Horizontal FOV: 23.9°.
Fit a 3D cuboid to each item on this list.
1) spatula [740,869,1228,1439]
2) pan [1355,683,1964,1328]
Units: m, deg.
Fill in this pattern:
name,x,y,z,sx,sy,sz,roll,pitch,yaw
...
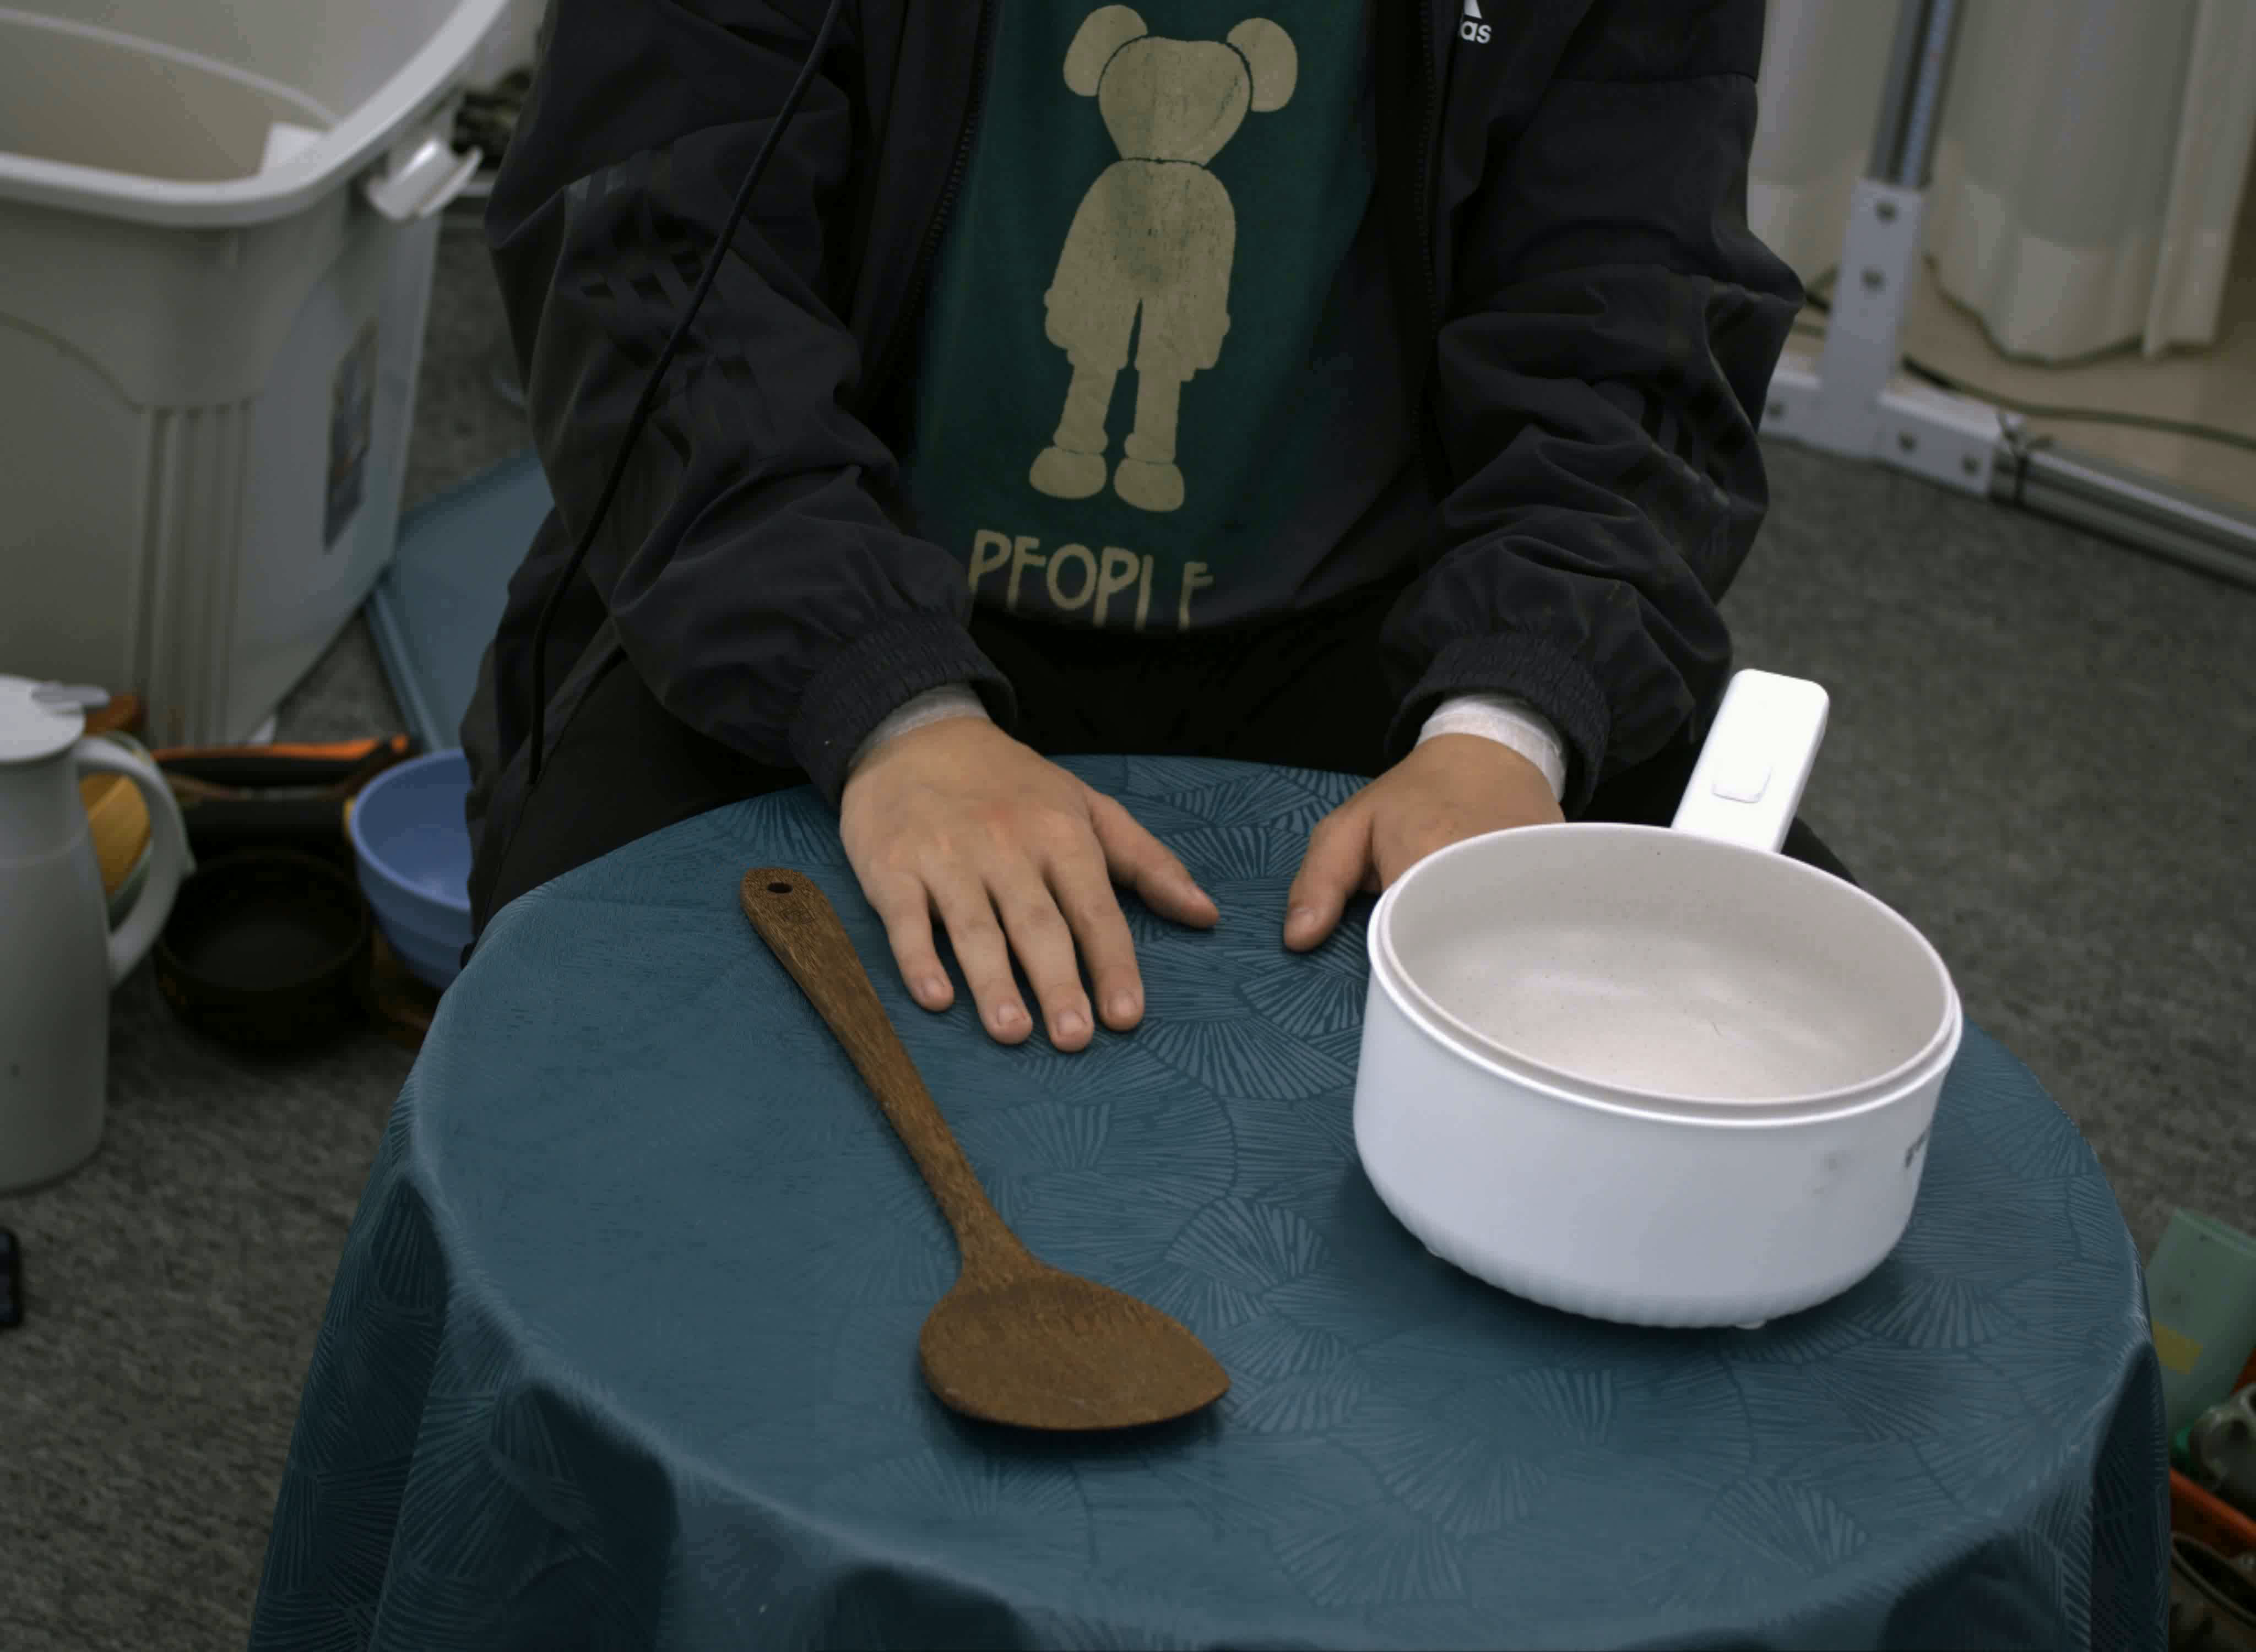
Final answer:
name,x,y,z,sx,sy,sz,roll,pitch,yaw
spatula,-0.070,0.103,1.815,0.095,0.016,0.389,-3,28,-20
pan,0.196,0.059,1.872,0.201,0.102,0.355,11,26,12
